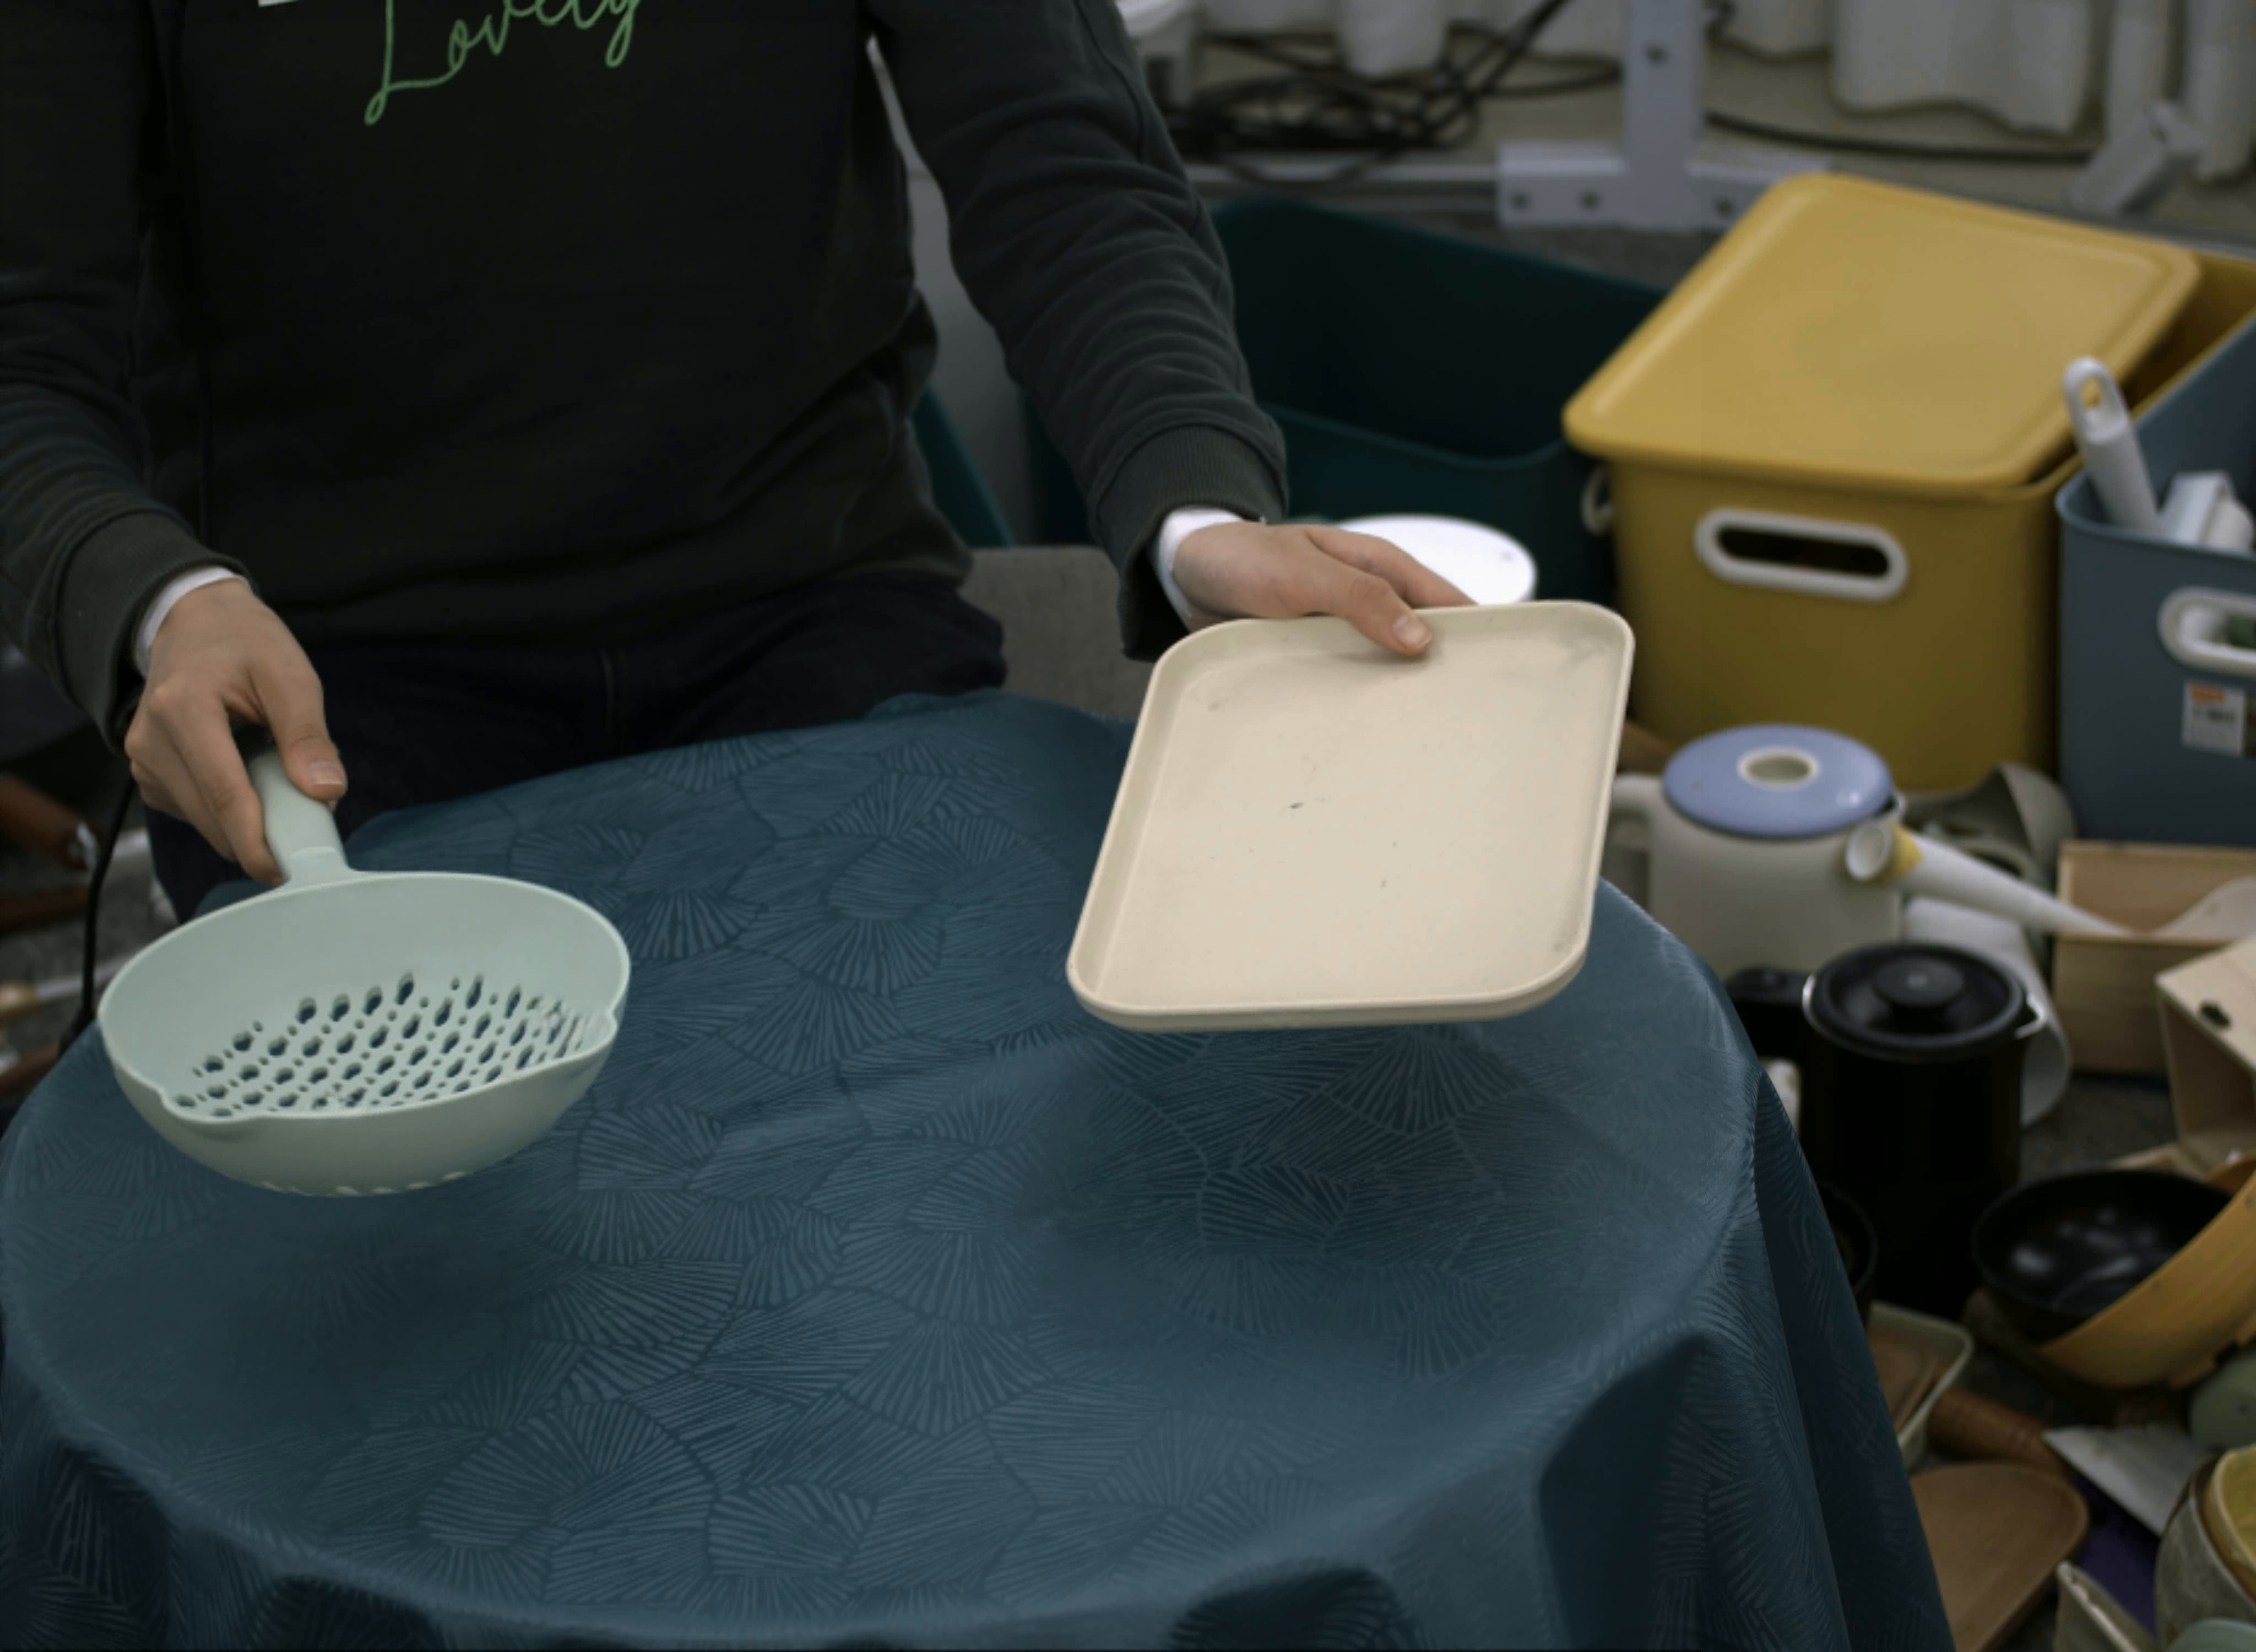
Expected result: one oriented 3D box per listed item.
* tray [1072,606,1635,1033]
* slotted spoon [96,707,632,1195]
[{"bbox_3d":[0.079,-0.003,1.869,0.170,0.017,0.244,-3,31,12],"label":"tray"},{"bbox_3d":[-0.267,0.026,1.869,0.169,0.074,0.363,-7,32,-14],"label":"slotted spoon"}]
